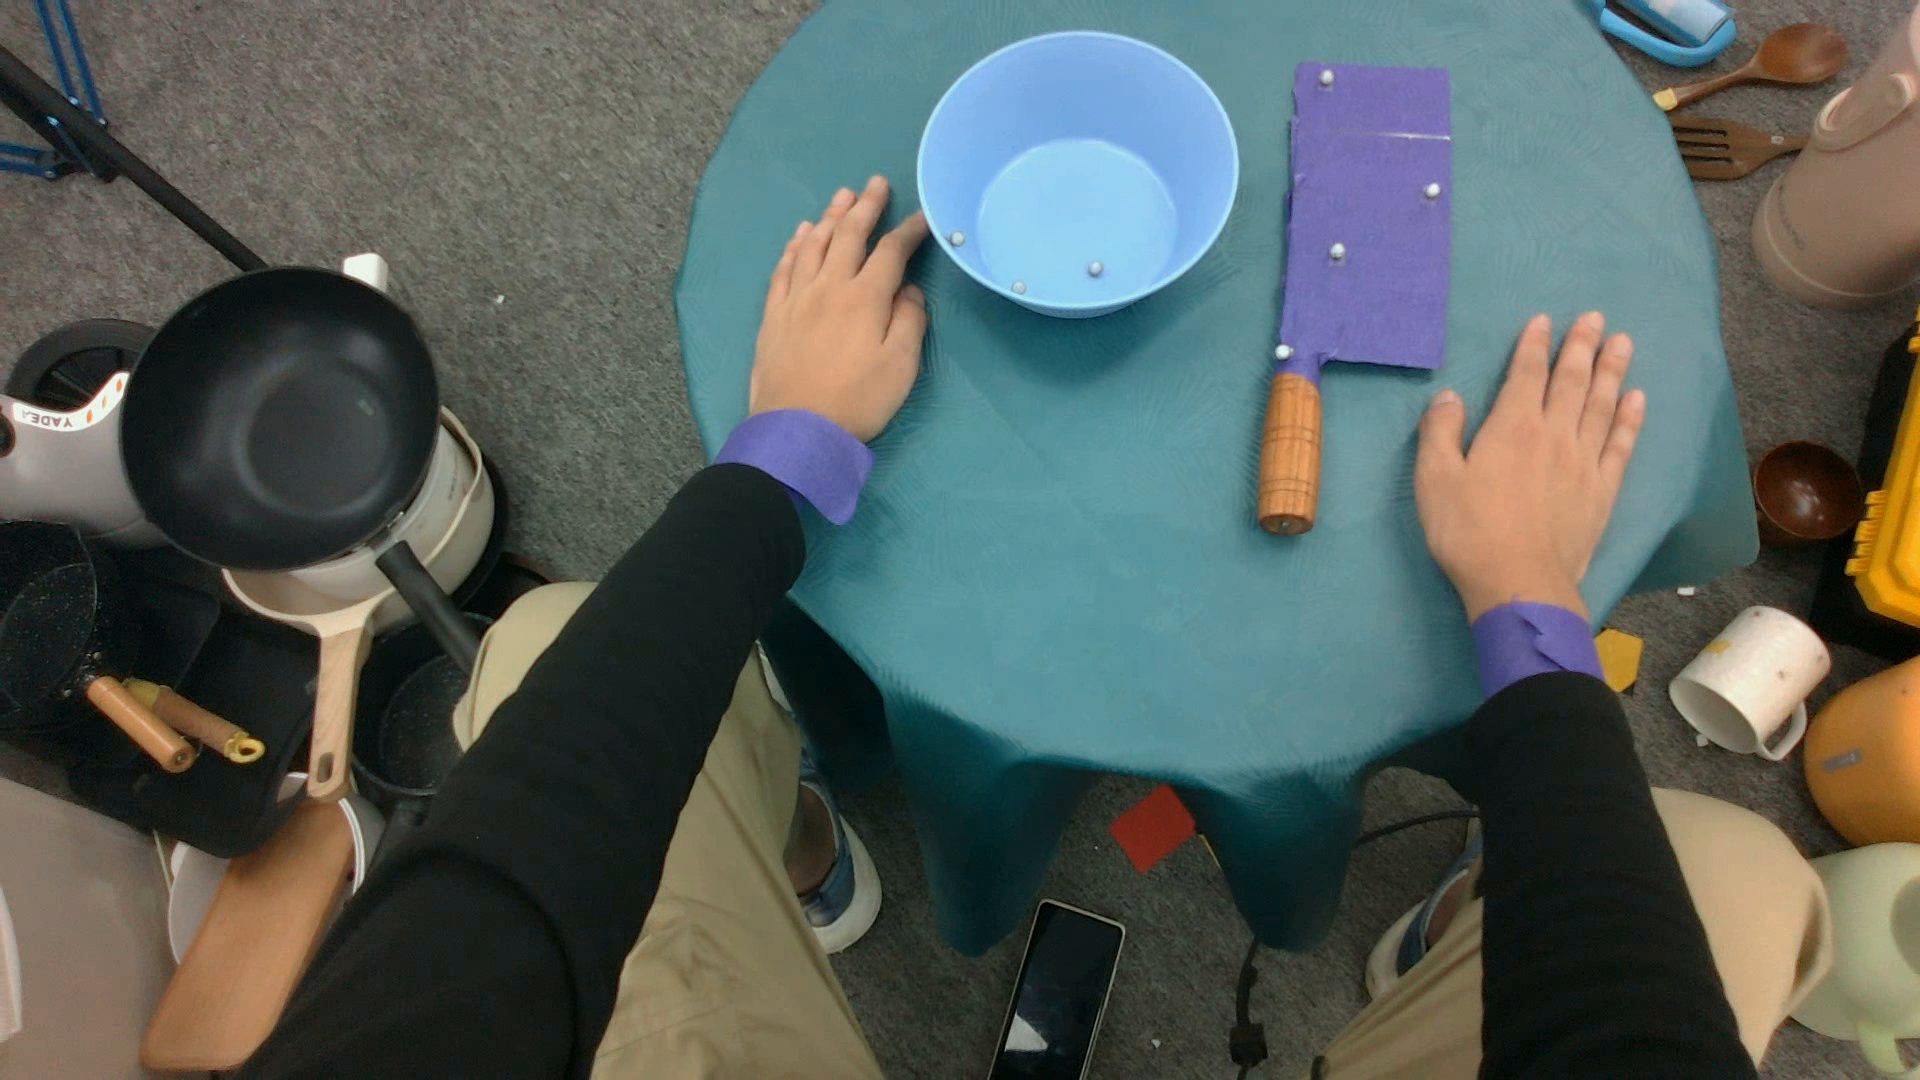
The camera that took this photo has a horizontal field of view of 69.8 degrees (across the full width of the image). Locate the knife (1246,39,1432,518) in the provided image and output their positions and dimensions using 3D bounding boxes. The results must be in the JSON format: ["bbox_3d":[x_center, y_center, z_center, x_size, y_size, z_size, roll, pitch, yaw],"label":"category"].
[{"bbox_3d":[0.216,-0.160,0.787,0.104,0.032,0.316,5,70,6],"label":"knife"}]

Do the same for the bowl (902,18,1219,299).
[{"bbox_3d":[0.058,-0.206,0.789,0.176,0.070,0.176,-1,71,5],"label":"bowl"}]
